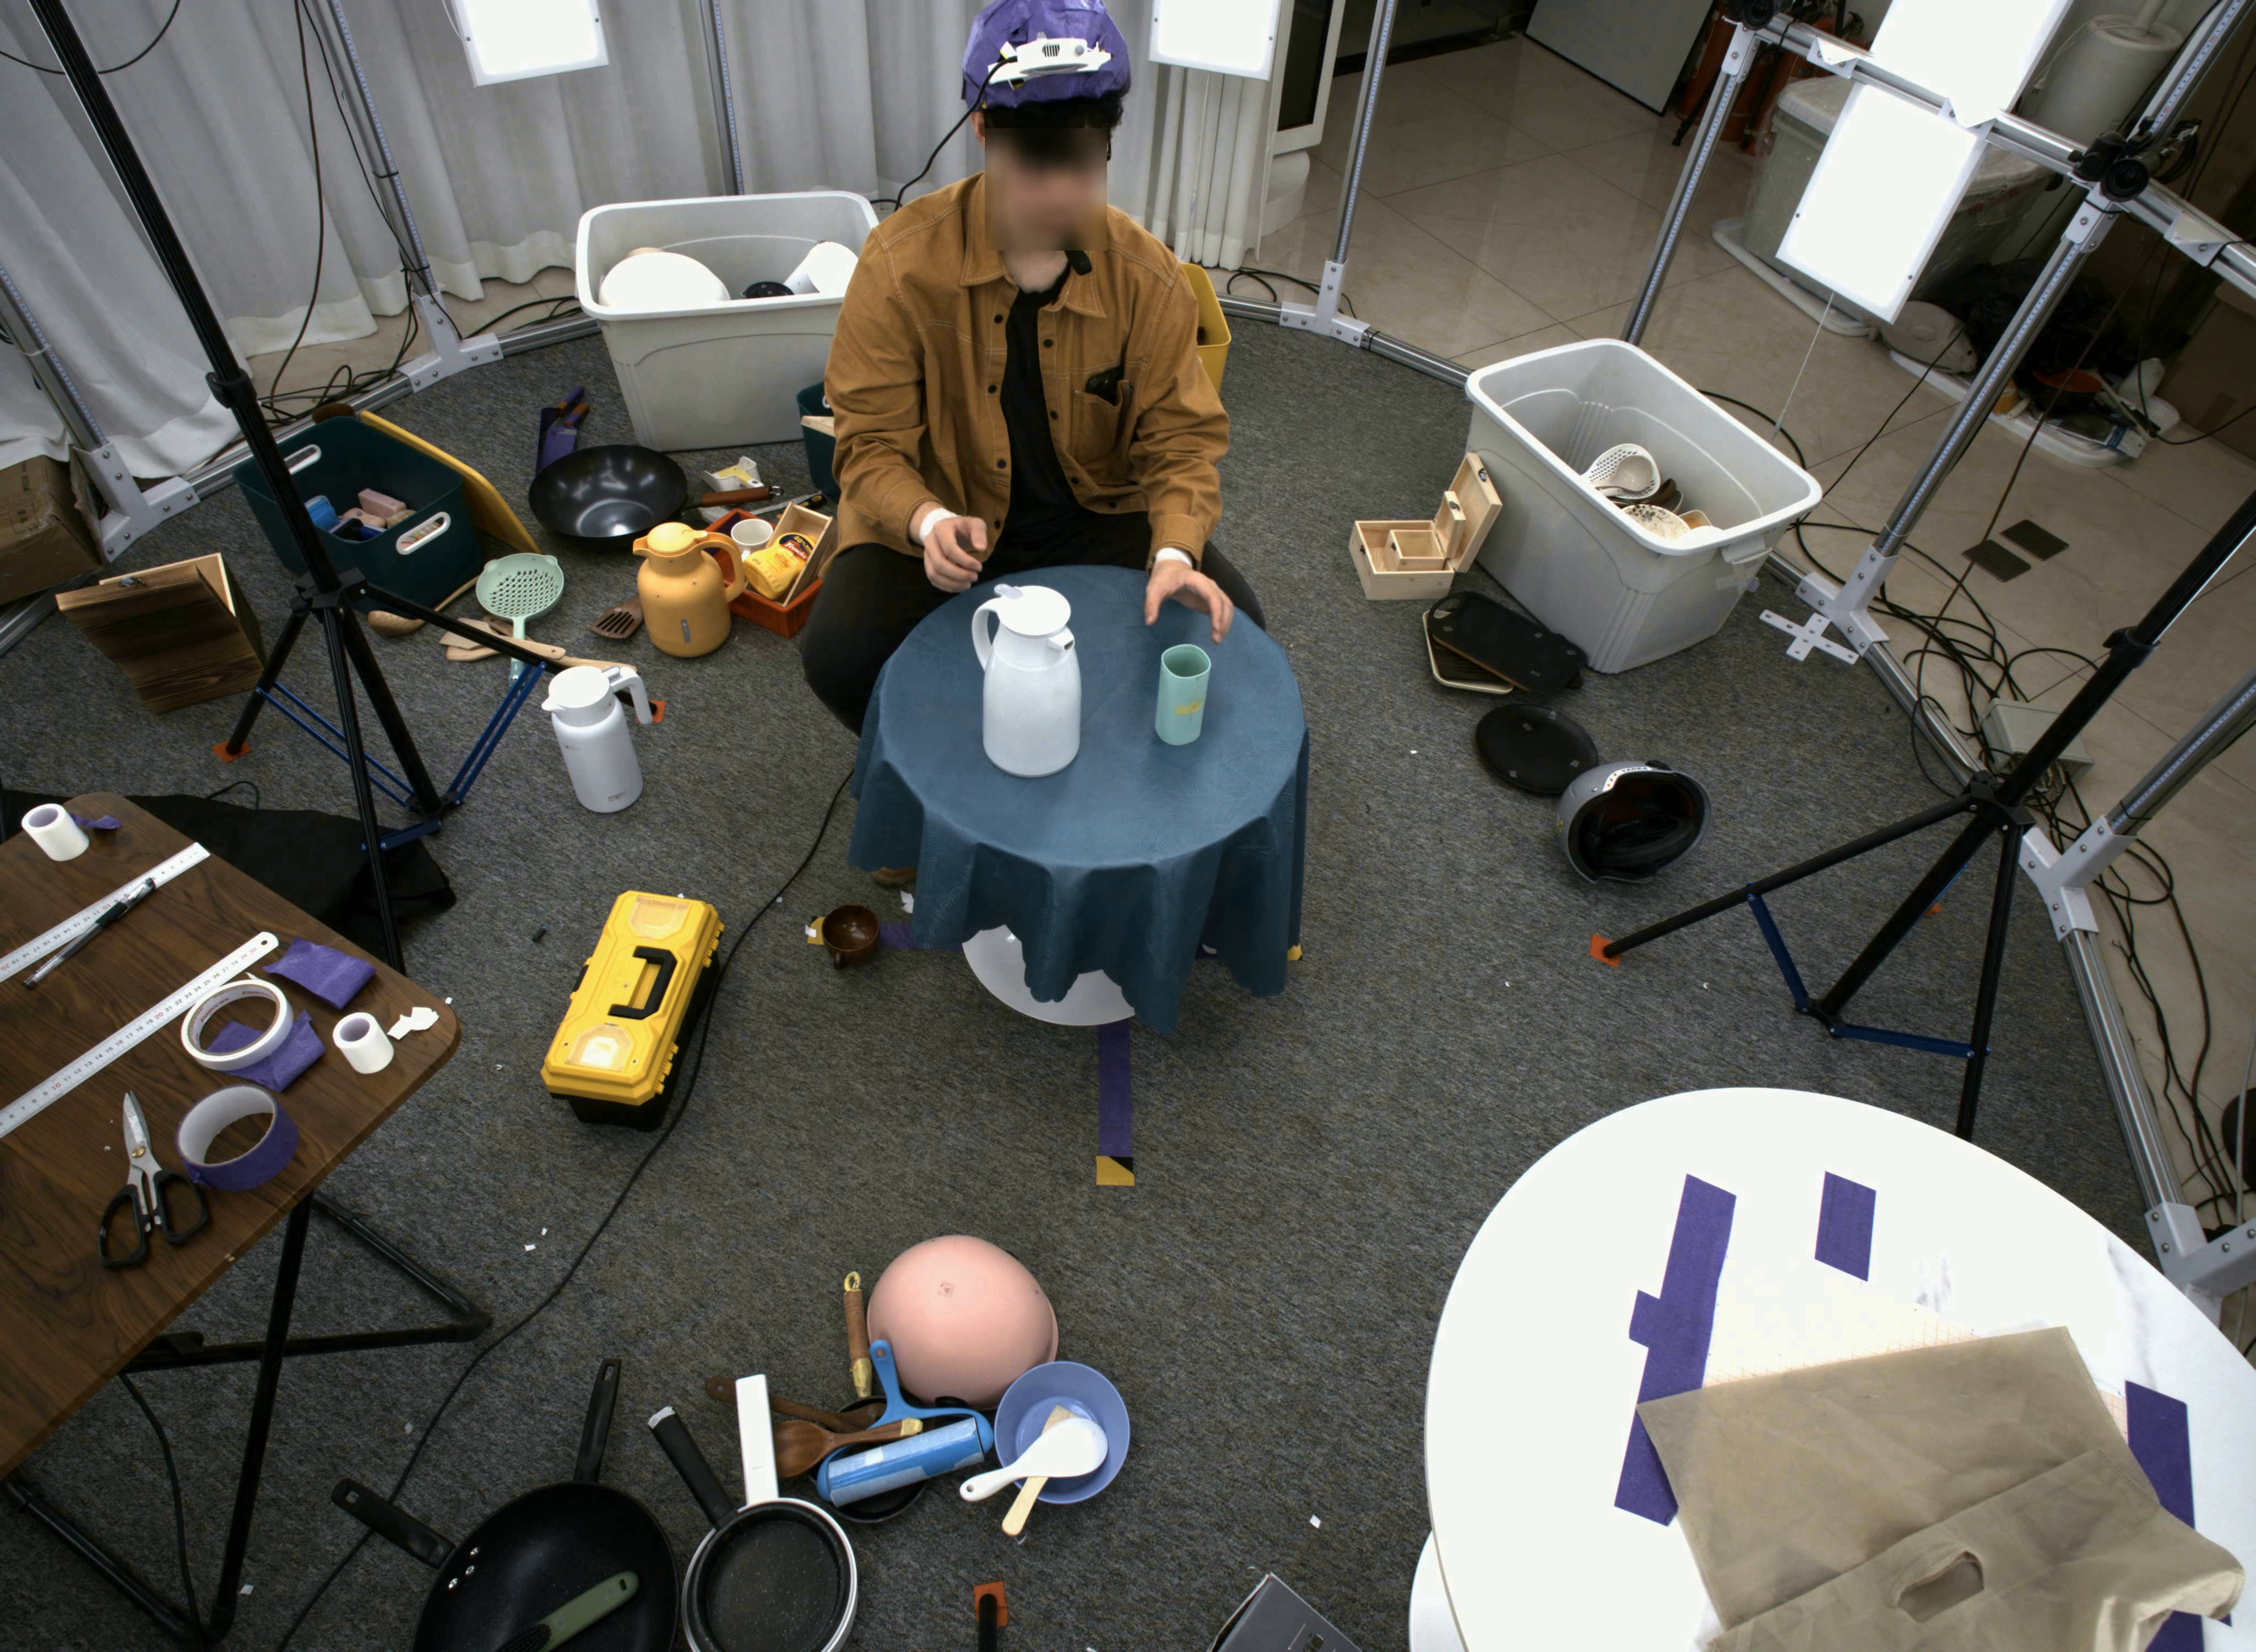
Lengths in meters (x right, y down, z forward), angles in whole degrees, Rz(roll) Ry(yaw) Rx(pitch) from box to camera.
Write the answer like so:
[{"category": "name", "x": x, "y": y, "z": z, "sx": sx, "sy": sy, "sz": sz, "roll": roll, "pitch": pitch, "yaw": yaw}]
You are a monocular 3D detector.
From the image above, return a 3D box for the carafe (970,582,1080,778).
[{"category": "carafe", "x": -0.141, "y": -0.202, "z": 1.676, "sx": 0.170, "sy": 0.242, "sz": 0.134, "roll": 35, "pitch": 56, "yaw": 24}]

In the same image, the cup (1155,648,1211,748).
[{"category": "cup", "x": 0.073, "y": -0.175, "z": 1.745, "sx": 0.066, "sy": 0.129, "sz": 0.068, "roll": 2, "pitch": 49, "yaw": -3}]
